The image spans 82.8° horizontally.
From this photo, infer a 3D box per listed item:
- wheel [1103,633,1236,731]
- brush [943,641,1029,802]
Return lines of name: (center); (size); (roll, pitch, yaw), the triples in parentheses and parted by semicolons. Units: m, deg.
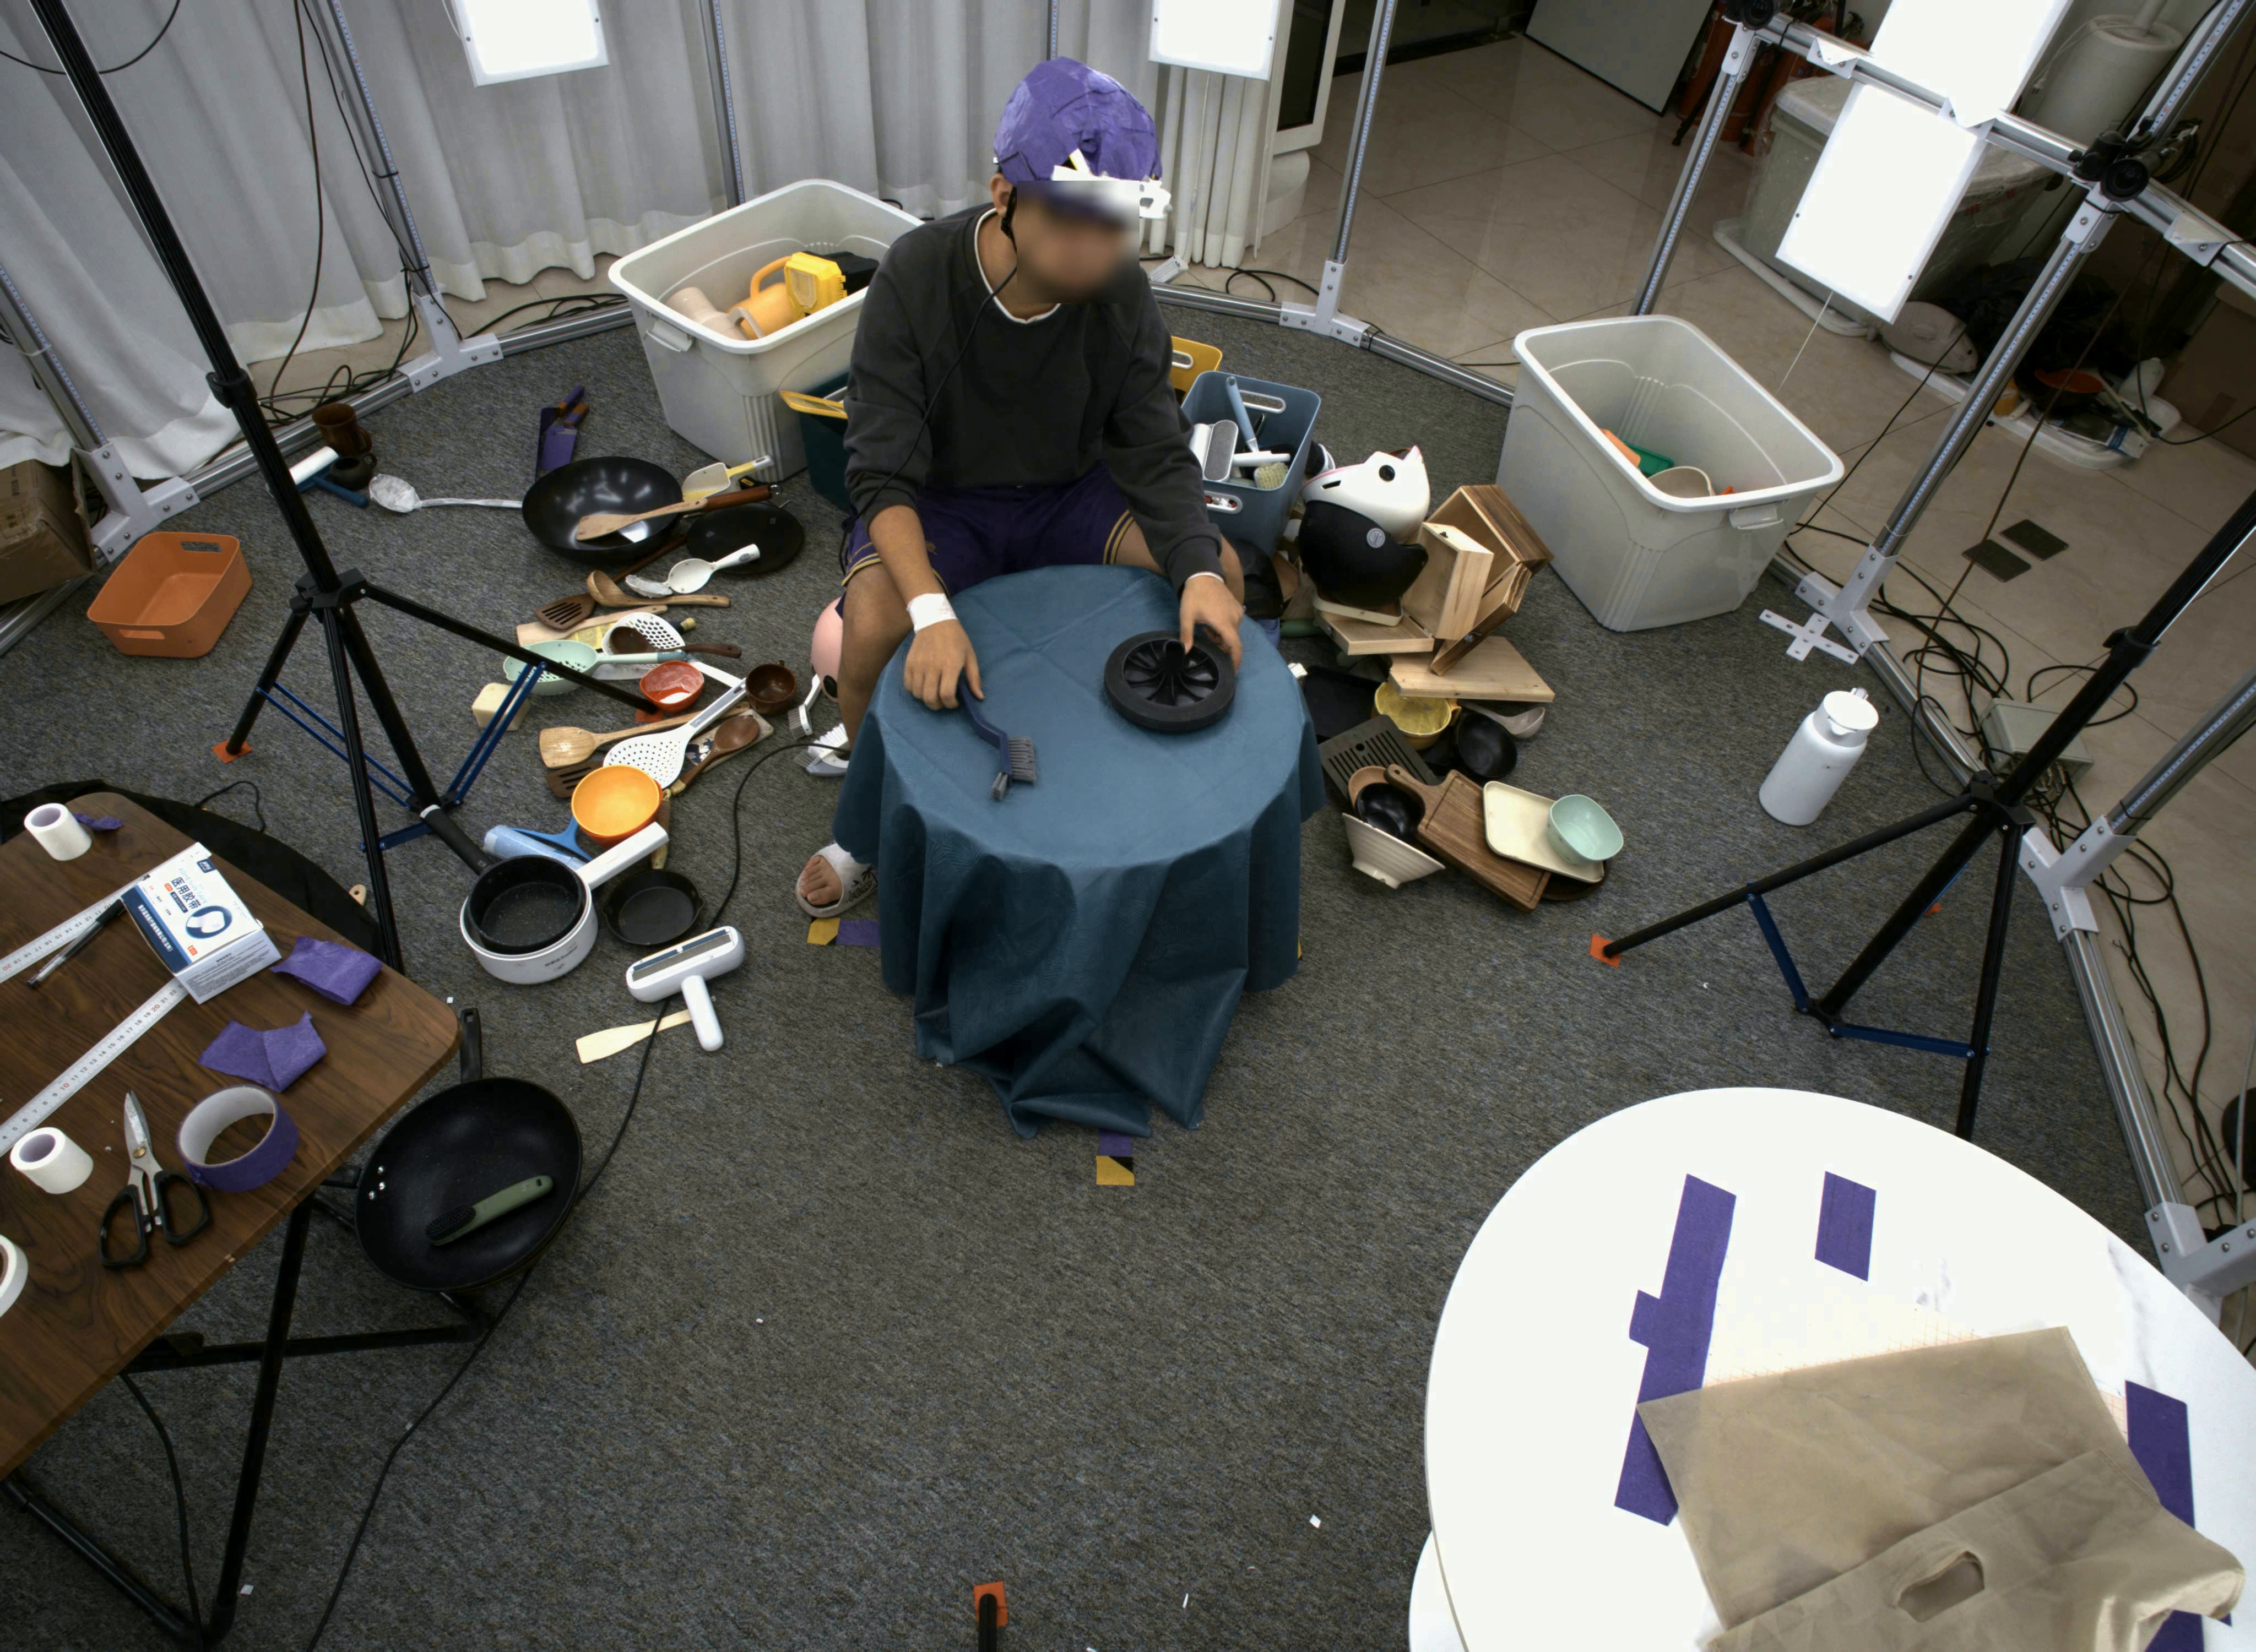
wheel: (0.060, -0.221, 1.813); (0.191, 0.077, 0.191); (18, 51, 13)
brush: (-0.215, -0.149, 1.760); (0.096, 0.033, 0.279); (-24, 56, -22)
